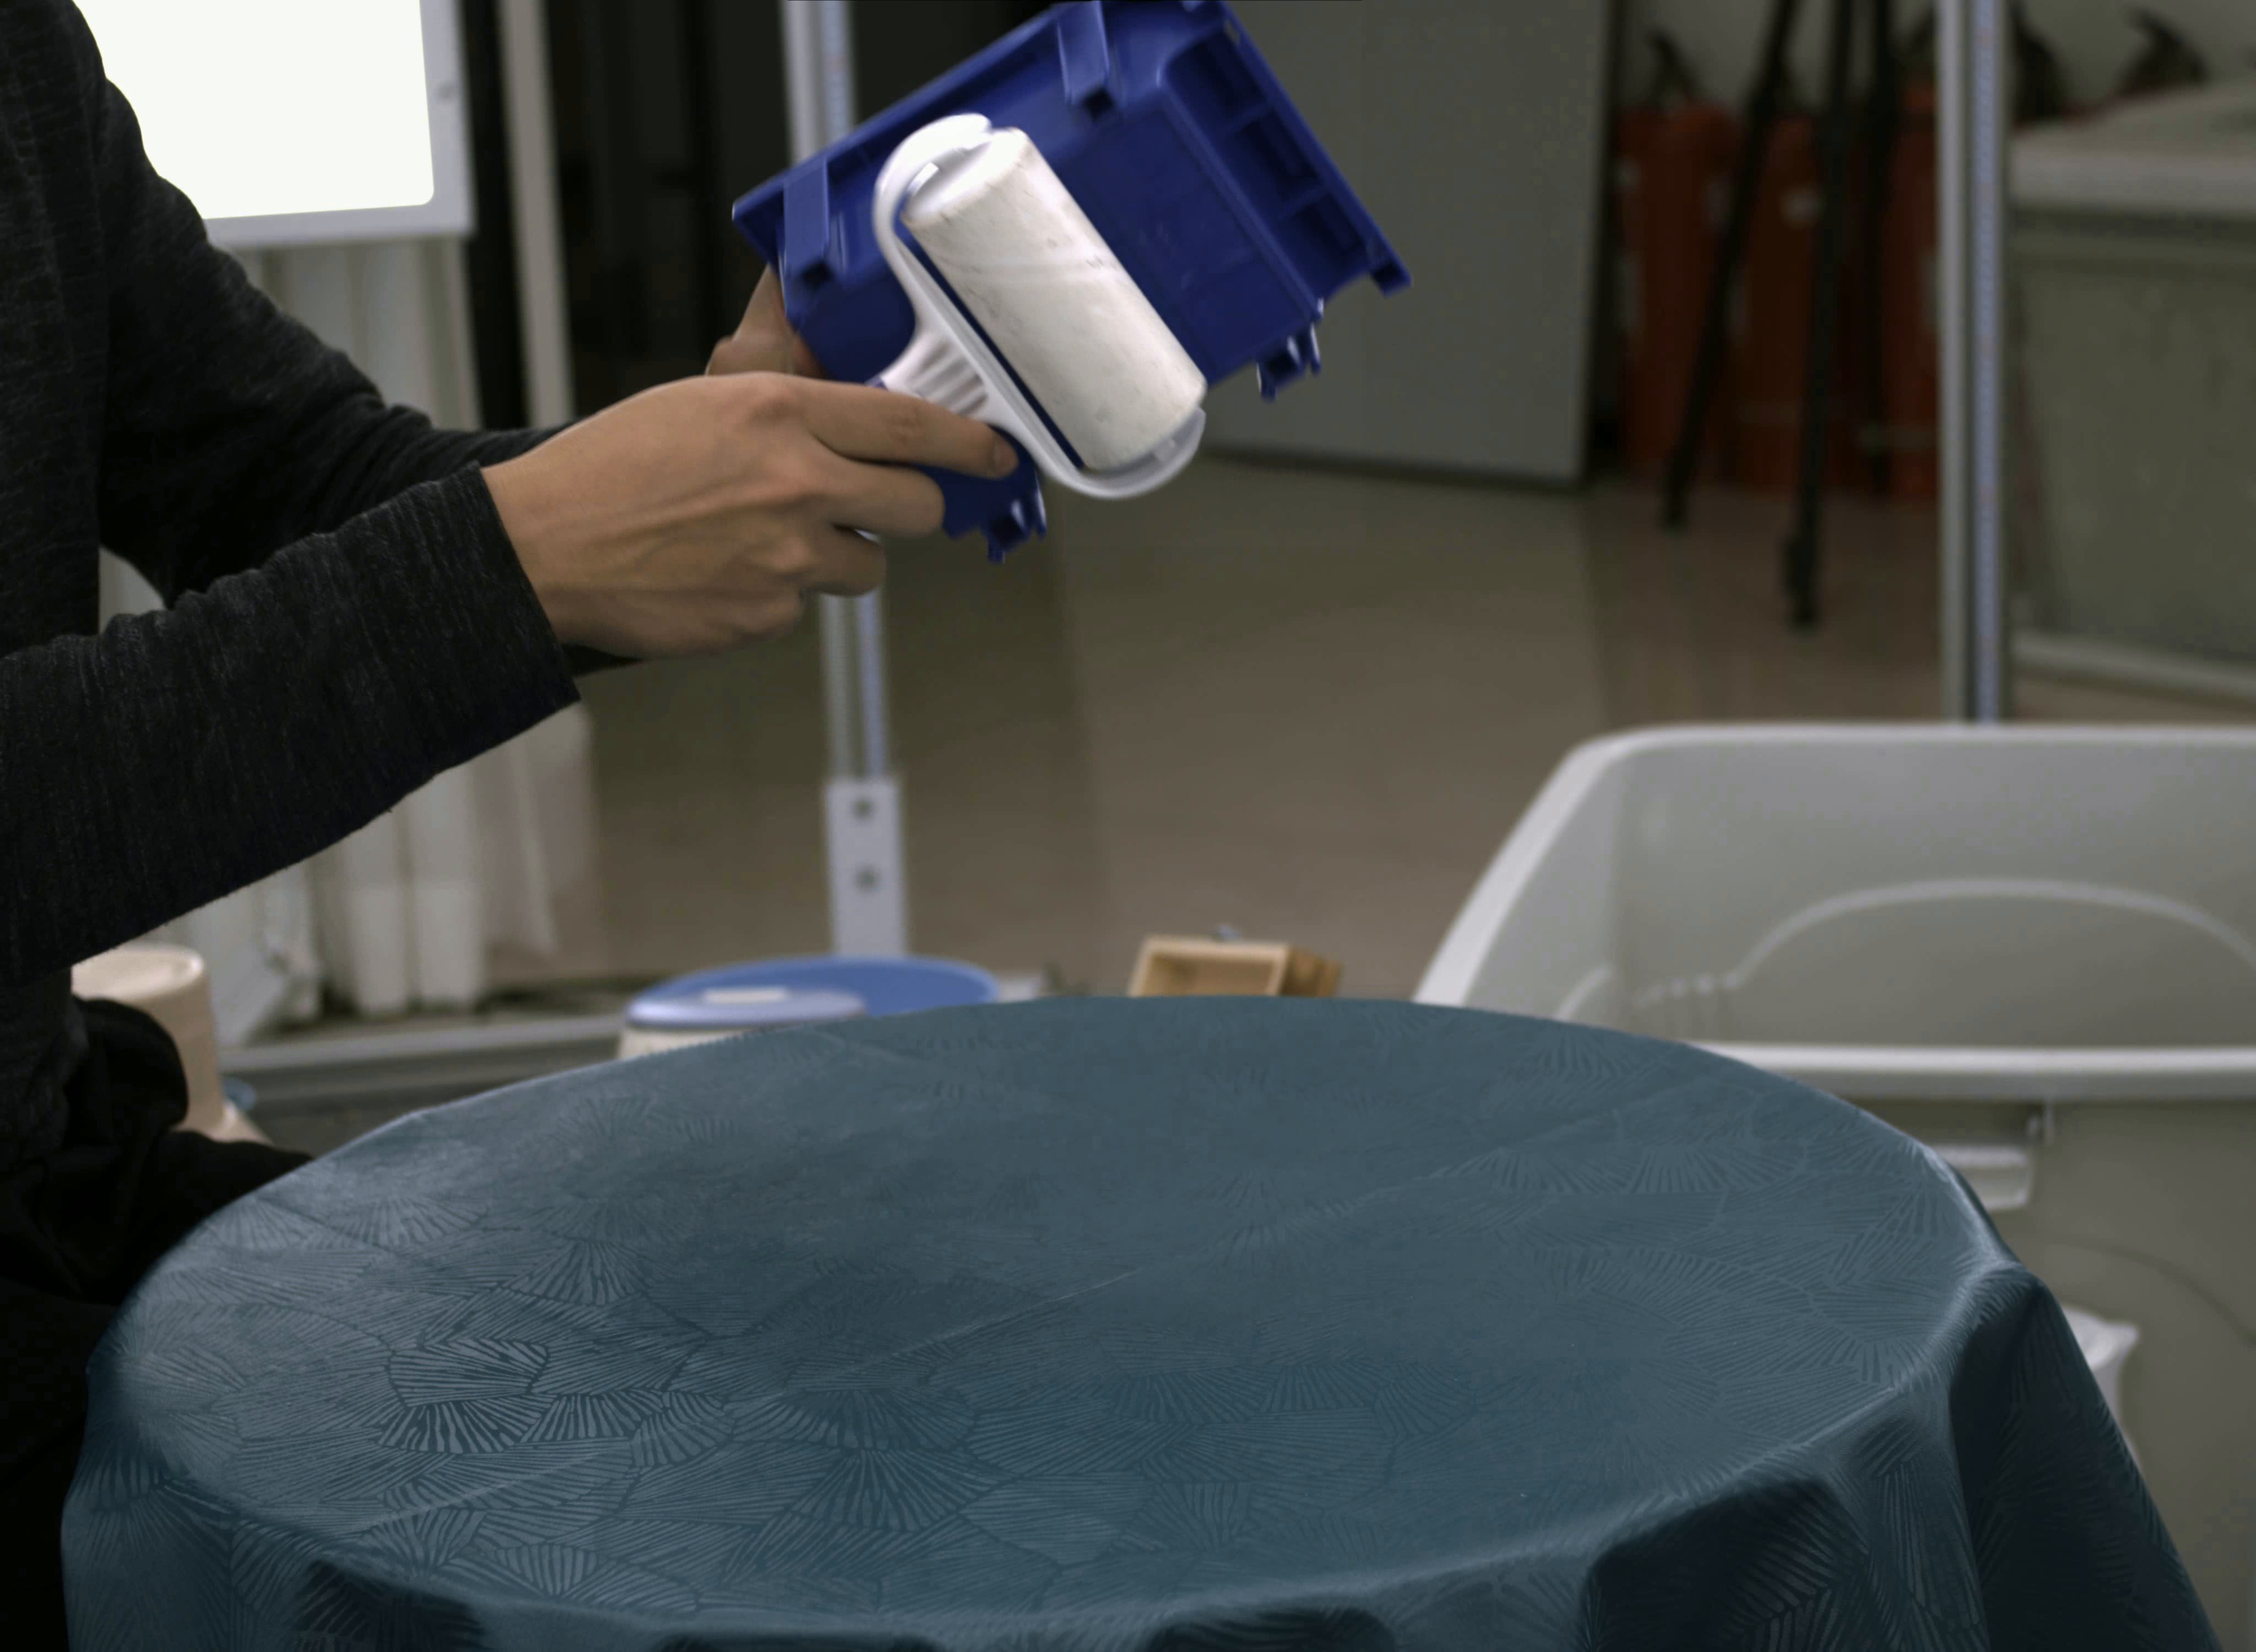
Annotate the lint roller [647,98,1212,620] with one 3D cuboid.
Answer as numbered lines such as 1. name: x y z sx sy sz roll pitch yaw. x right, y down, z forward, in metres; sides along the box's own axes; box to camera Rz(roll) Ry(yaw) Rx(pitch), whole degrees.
1. lint roller: -0.072 -0.122 1.642 0.180 0.132 0.050 -38 22 -4

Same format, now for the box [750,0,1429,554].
1. box: -0.011 -0.185 1.710 0.179 0.123 0.082 -33 27 13
